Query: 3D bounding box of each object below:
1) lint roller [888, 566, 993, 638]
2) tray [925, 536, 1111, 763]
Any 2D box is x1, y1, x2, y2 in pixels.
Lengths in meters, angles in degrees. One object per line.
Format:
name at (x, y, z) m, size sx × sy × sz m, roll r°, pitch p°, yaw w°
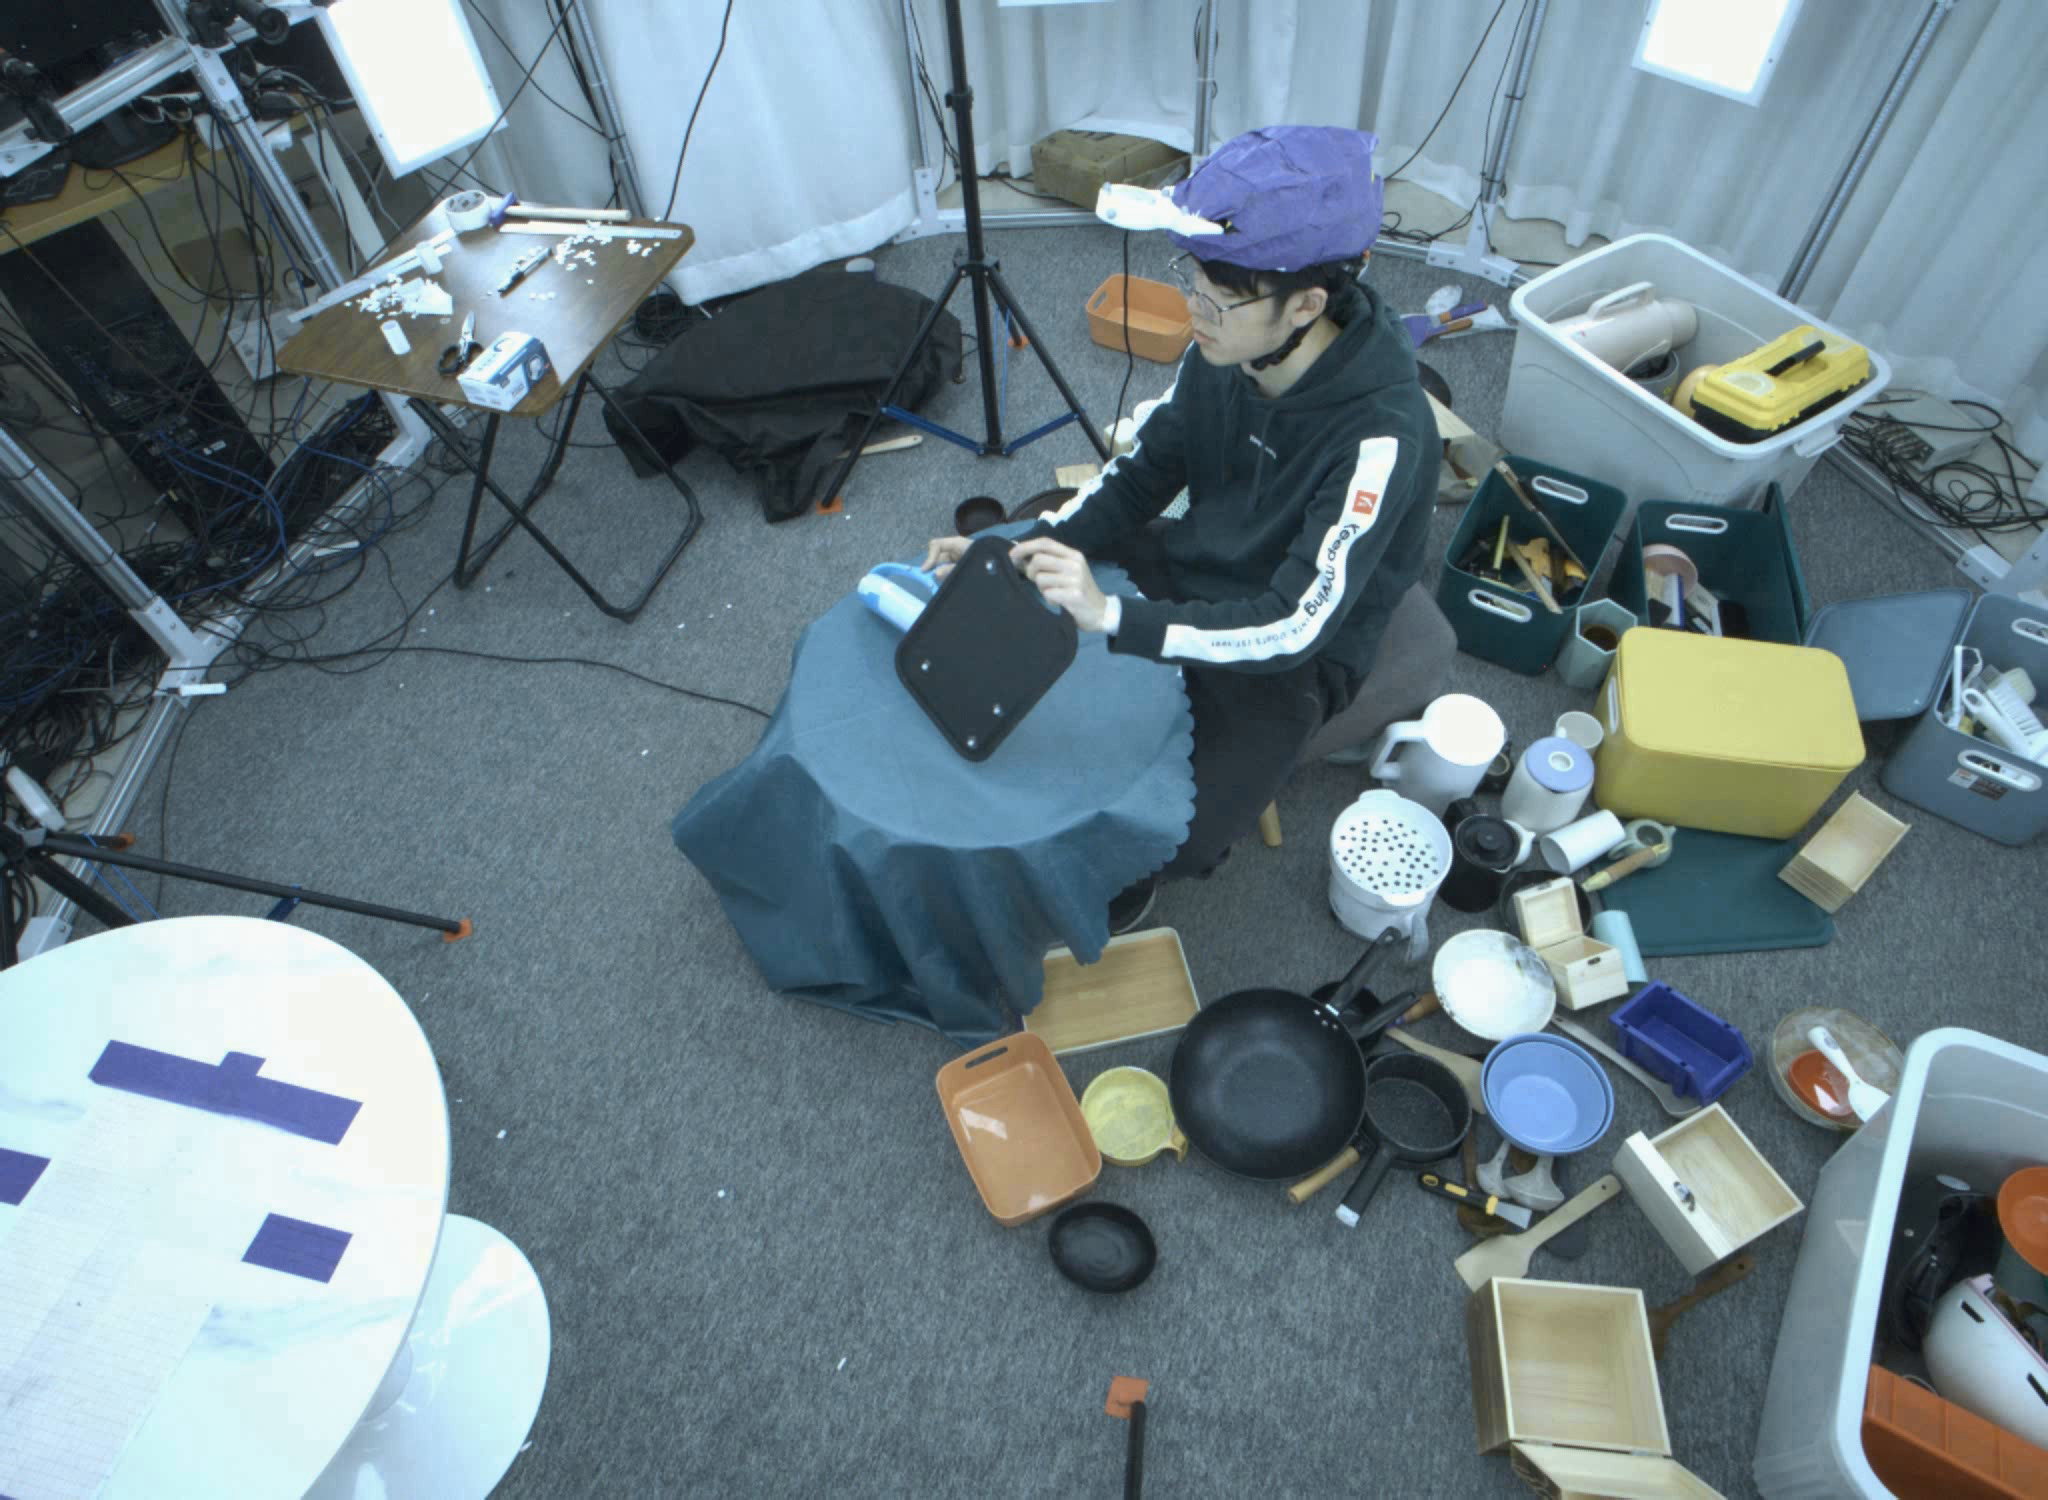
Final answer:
lint roller at (-0.095, -0.246, 1.871) m, size 0.181 × 0.069 × 0.223 m, roll -35°, pitch 36°, yaw -19°
tray at (-0.014, -0.133, 1.641) m, size 0.210 × 0.323 × 0.010 m, roll 50°, pitch 43°, yaw 8°
